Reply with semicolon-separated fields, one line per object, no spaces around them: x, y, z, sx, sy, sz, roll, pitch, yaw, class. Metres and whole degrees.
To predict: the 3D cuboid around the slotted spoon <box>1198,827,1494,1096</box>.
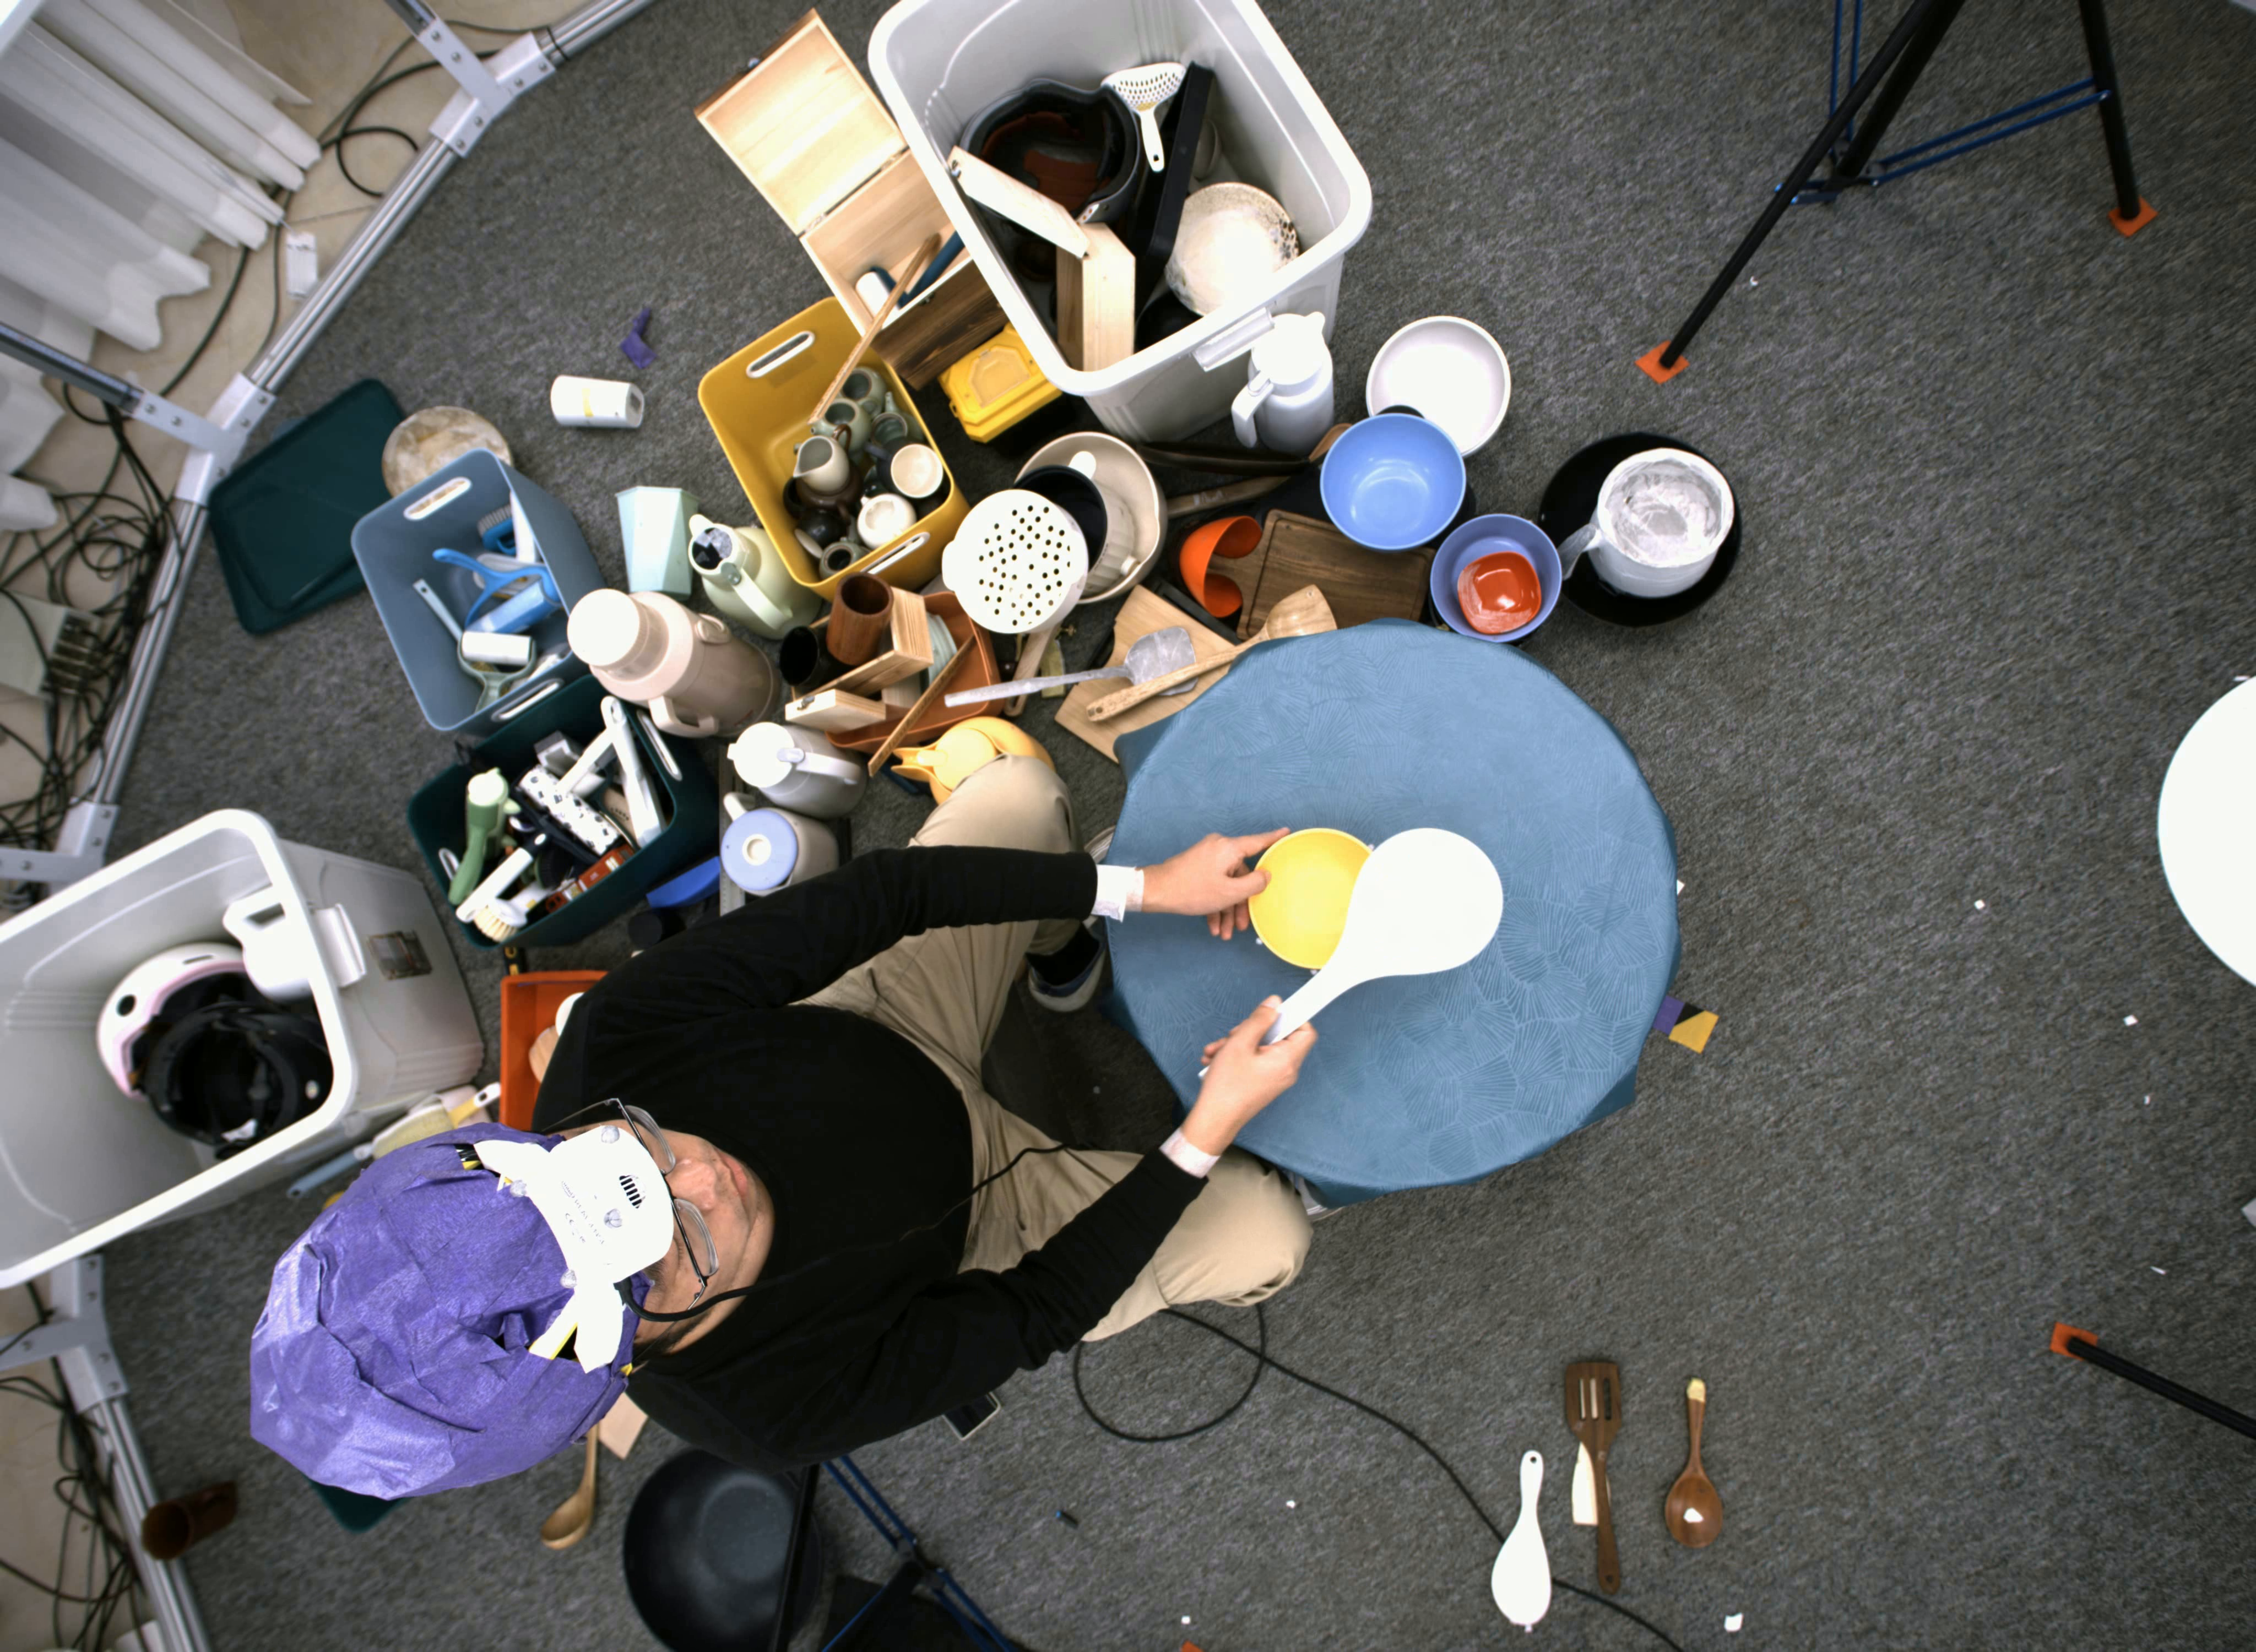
0.204;0.141;1.343;0.351;0.046;0.134;-41;68;6;slotted spoon

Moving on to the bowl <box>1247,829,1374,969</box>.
0.199;0.078;1.446;0.146;0.060;0.144;-1;84;10;bowl
